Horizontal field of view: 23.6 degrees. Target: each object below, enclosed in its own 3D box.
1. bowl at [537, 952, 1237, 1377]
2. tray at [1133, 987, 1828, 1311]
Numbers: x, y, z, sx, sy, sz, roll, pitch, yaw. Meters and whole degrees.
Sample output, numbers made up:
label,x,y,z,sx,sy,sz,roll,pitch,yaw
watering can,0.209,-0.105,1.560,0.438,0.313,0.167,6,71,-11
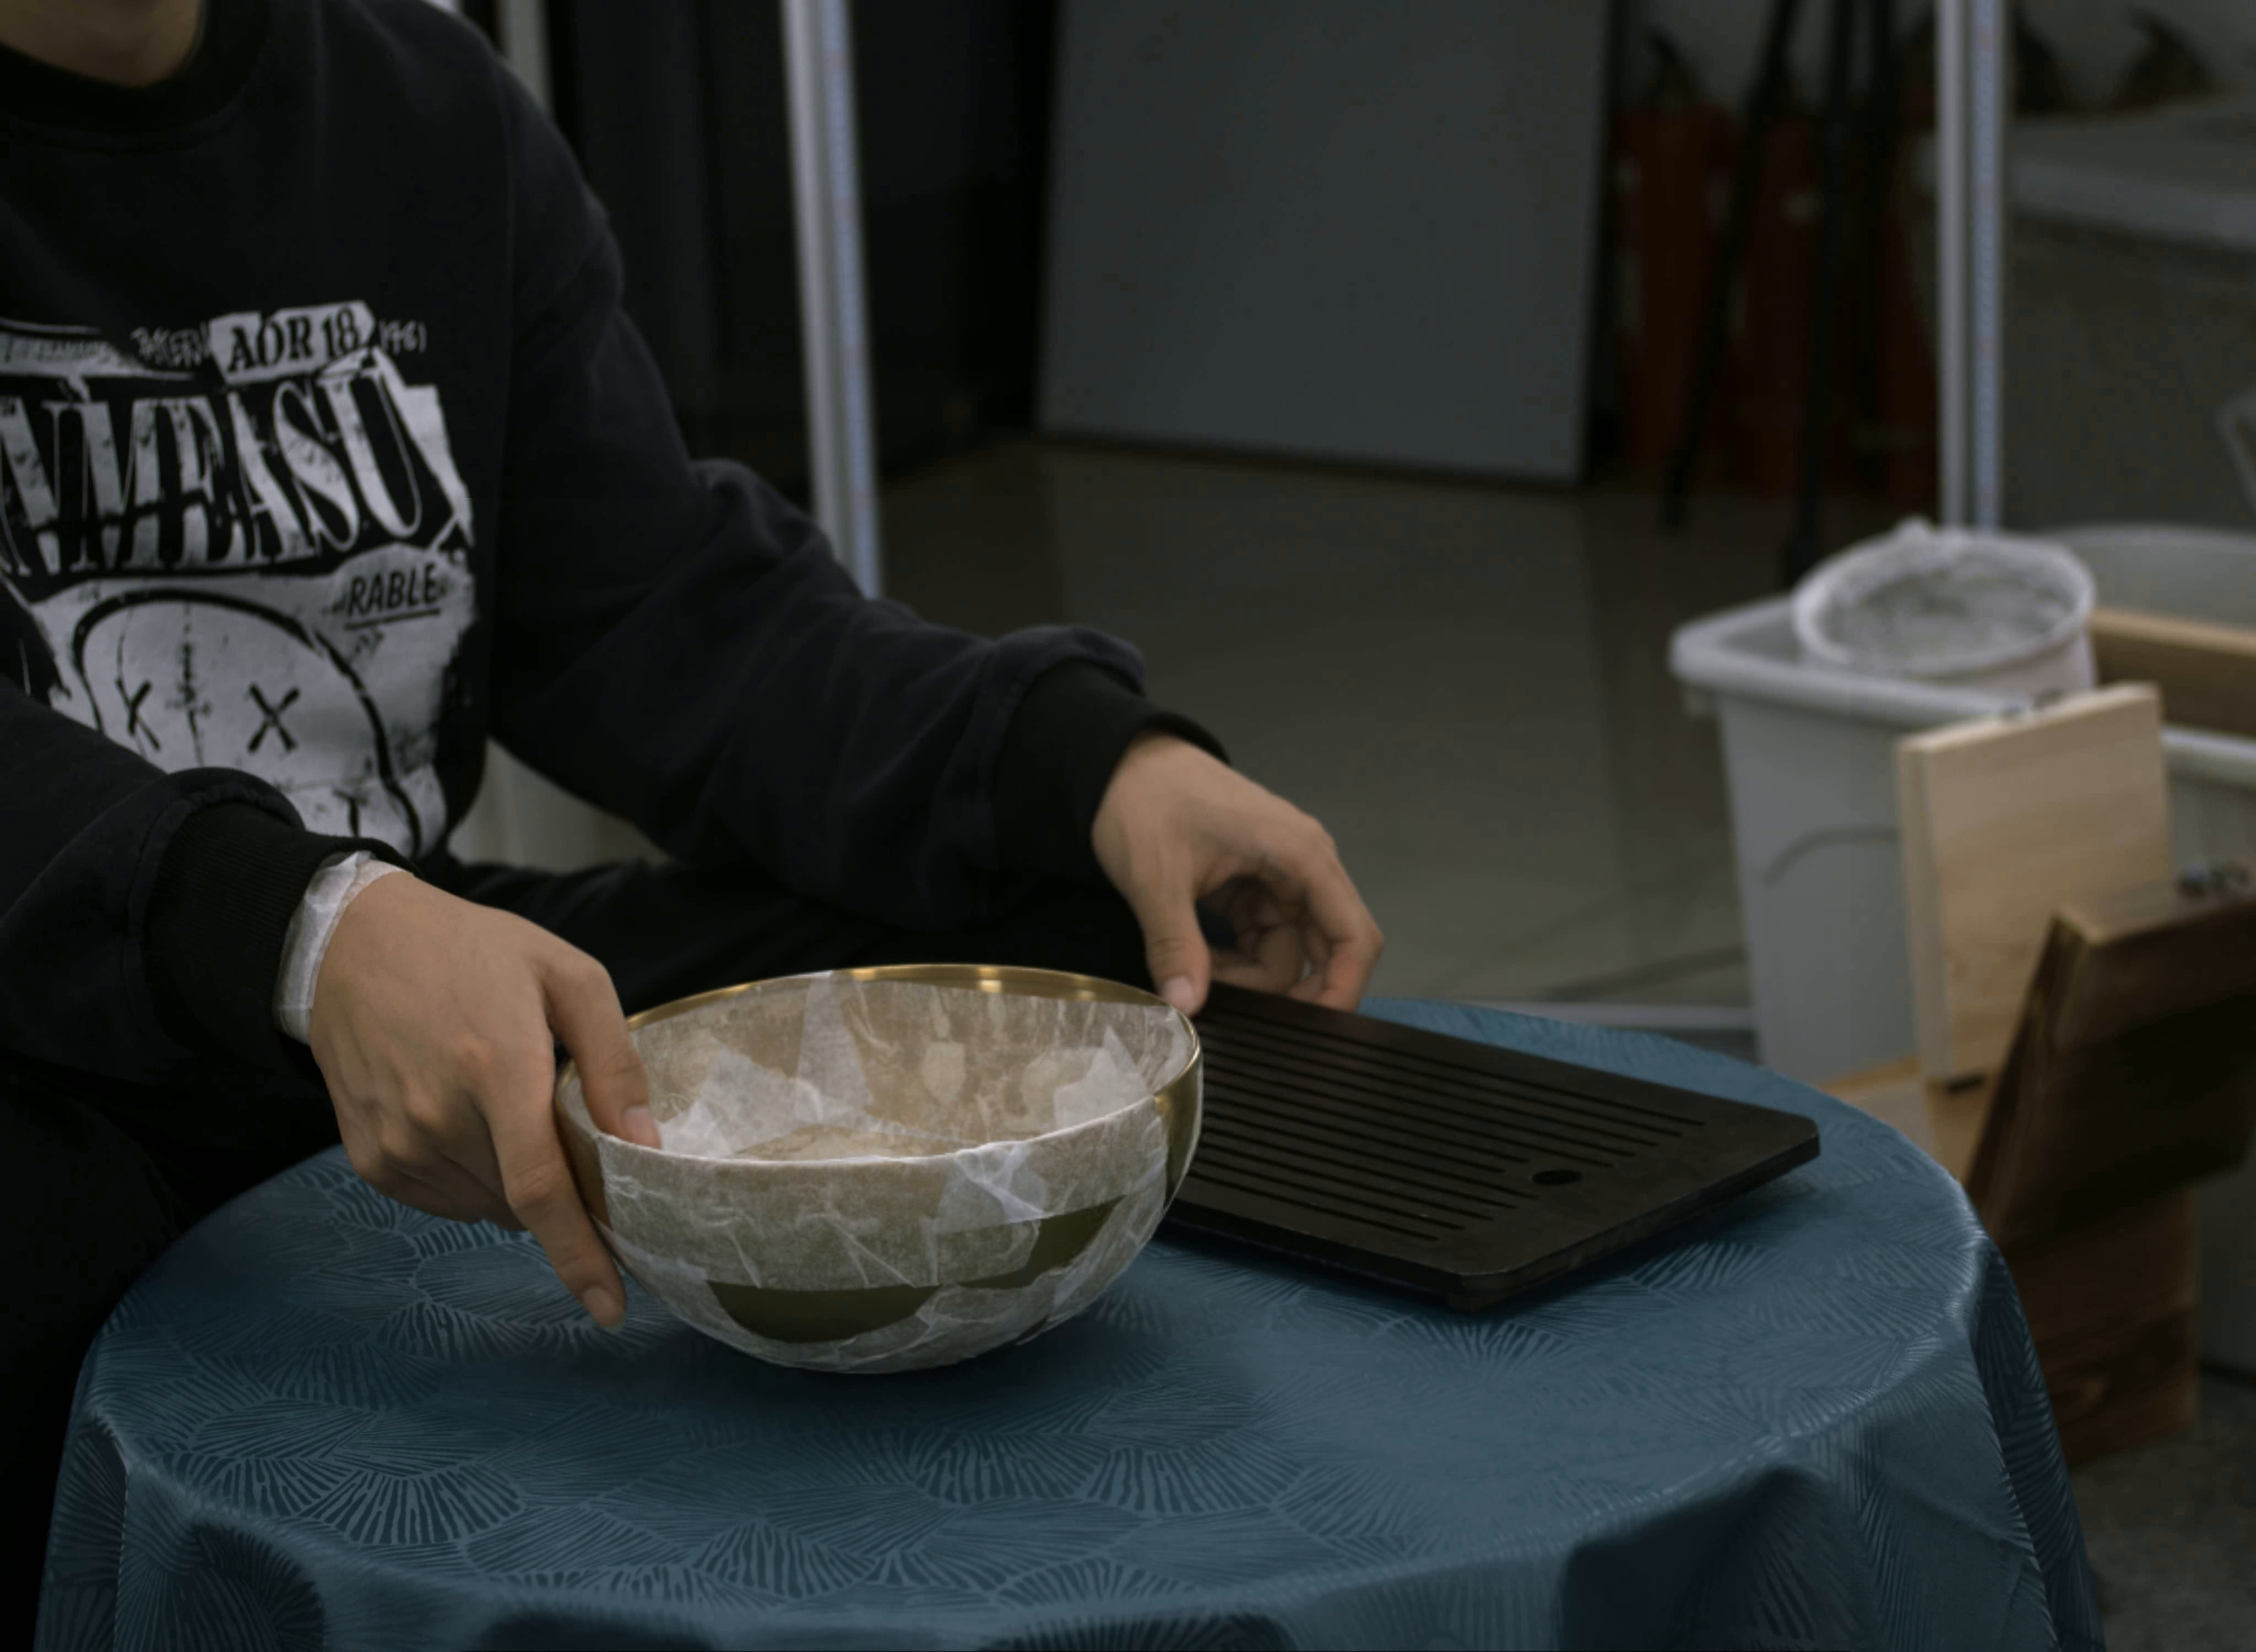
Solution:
label,x,y,z,sx,sy,sz,roll,pitch,yaw
bowl,-0.071,0.111,1.640,0.212,0.095,0.215,-5,14,0
tray,0.067,0.103,1.780,0.166,0.019,0.309,-18,19,-40
